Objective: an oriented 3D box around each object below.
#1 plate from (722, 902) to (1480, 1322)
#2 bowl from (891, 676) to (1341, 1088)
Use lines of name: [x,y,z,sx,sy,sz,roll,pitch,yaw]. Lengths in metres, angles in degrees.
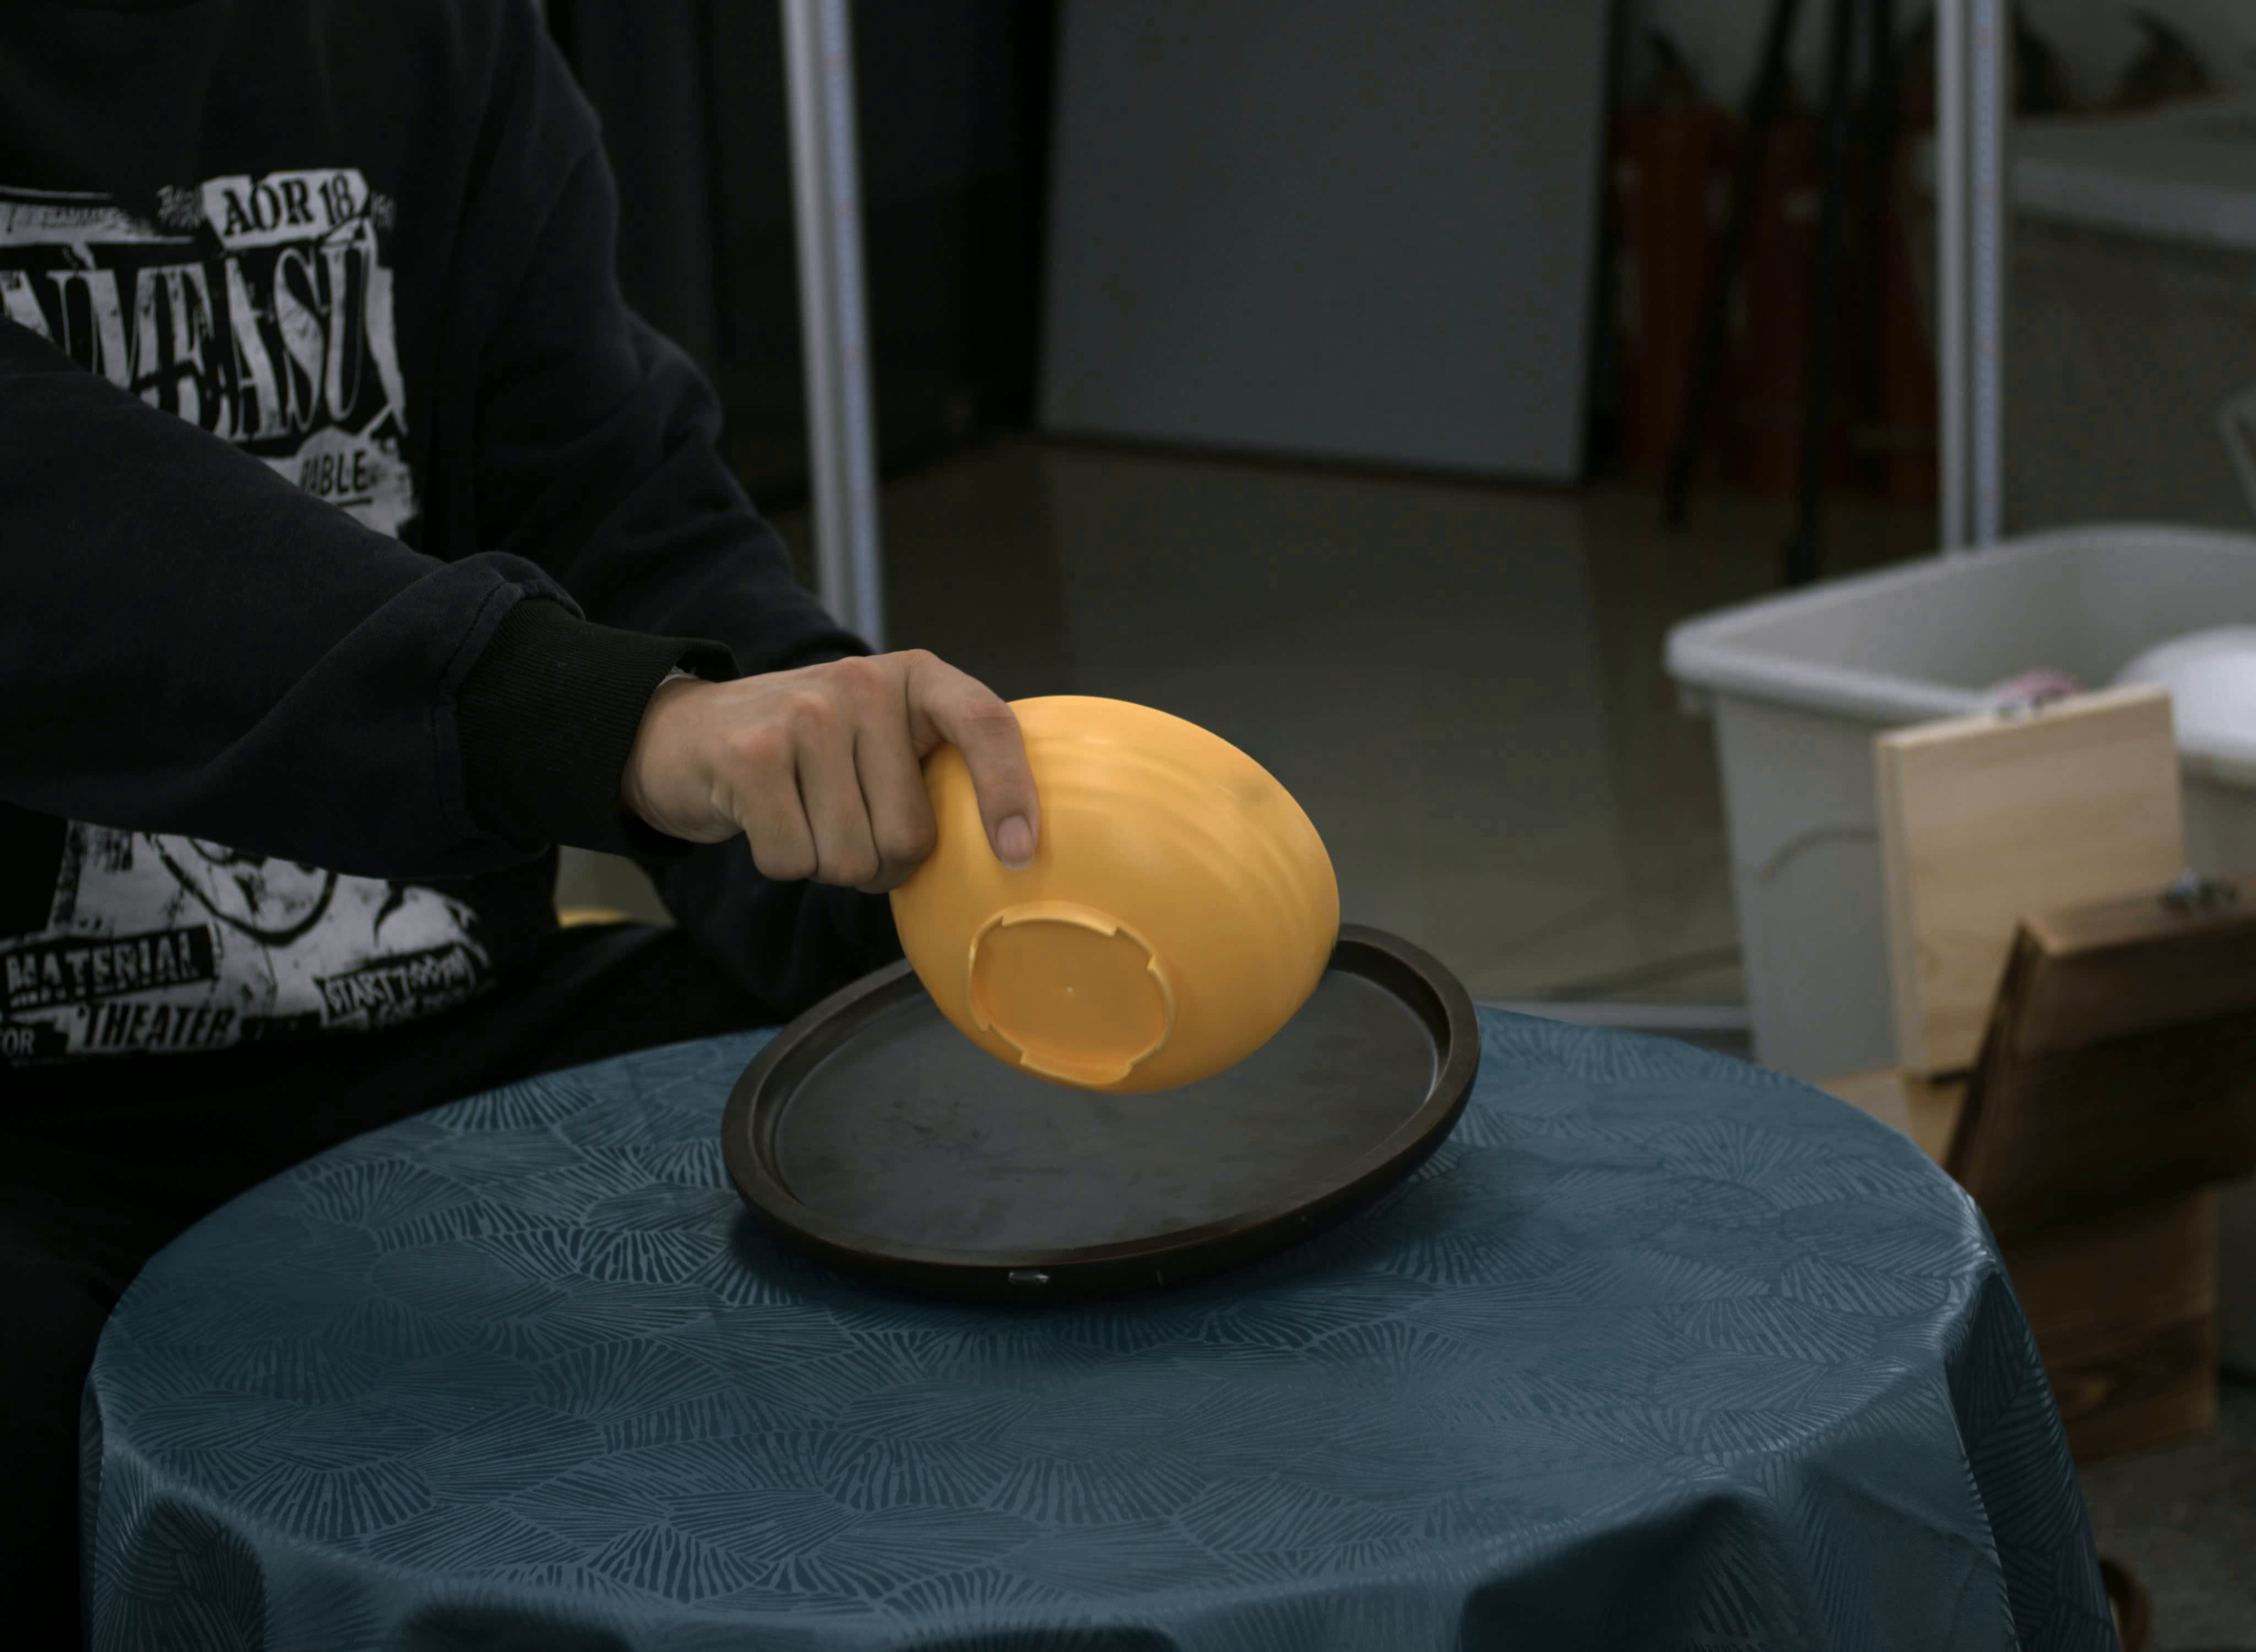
plate: [-0.008,0.090,1.762,0.252,0.029,0.256,-10,25,4]
bowl: [-0.011,0.030,1.626,0.145,0.146,0.060,2,39,19]
